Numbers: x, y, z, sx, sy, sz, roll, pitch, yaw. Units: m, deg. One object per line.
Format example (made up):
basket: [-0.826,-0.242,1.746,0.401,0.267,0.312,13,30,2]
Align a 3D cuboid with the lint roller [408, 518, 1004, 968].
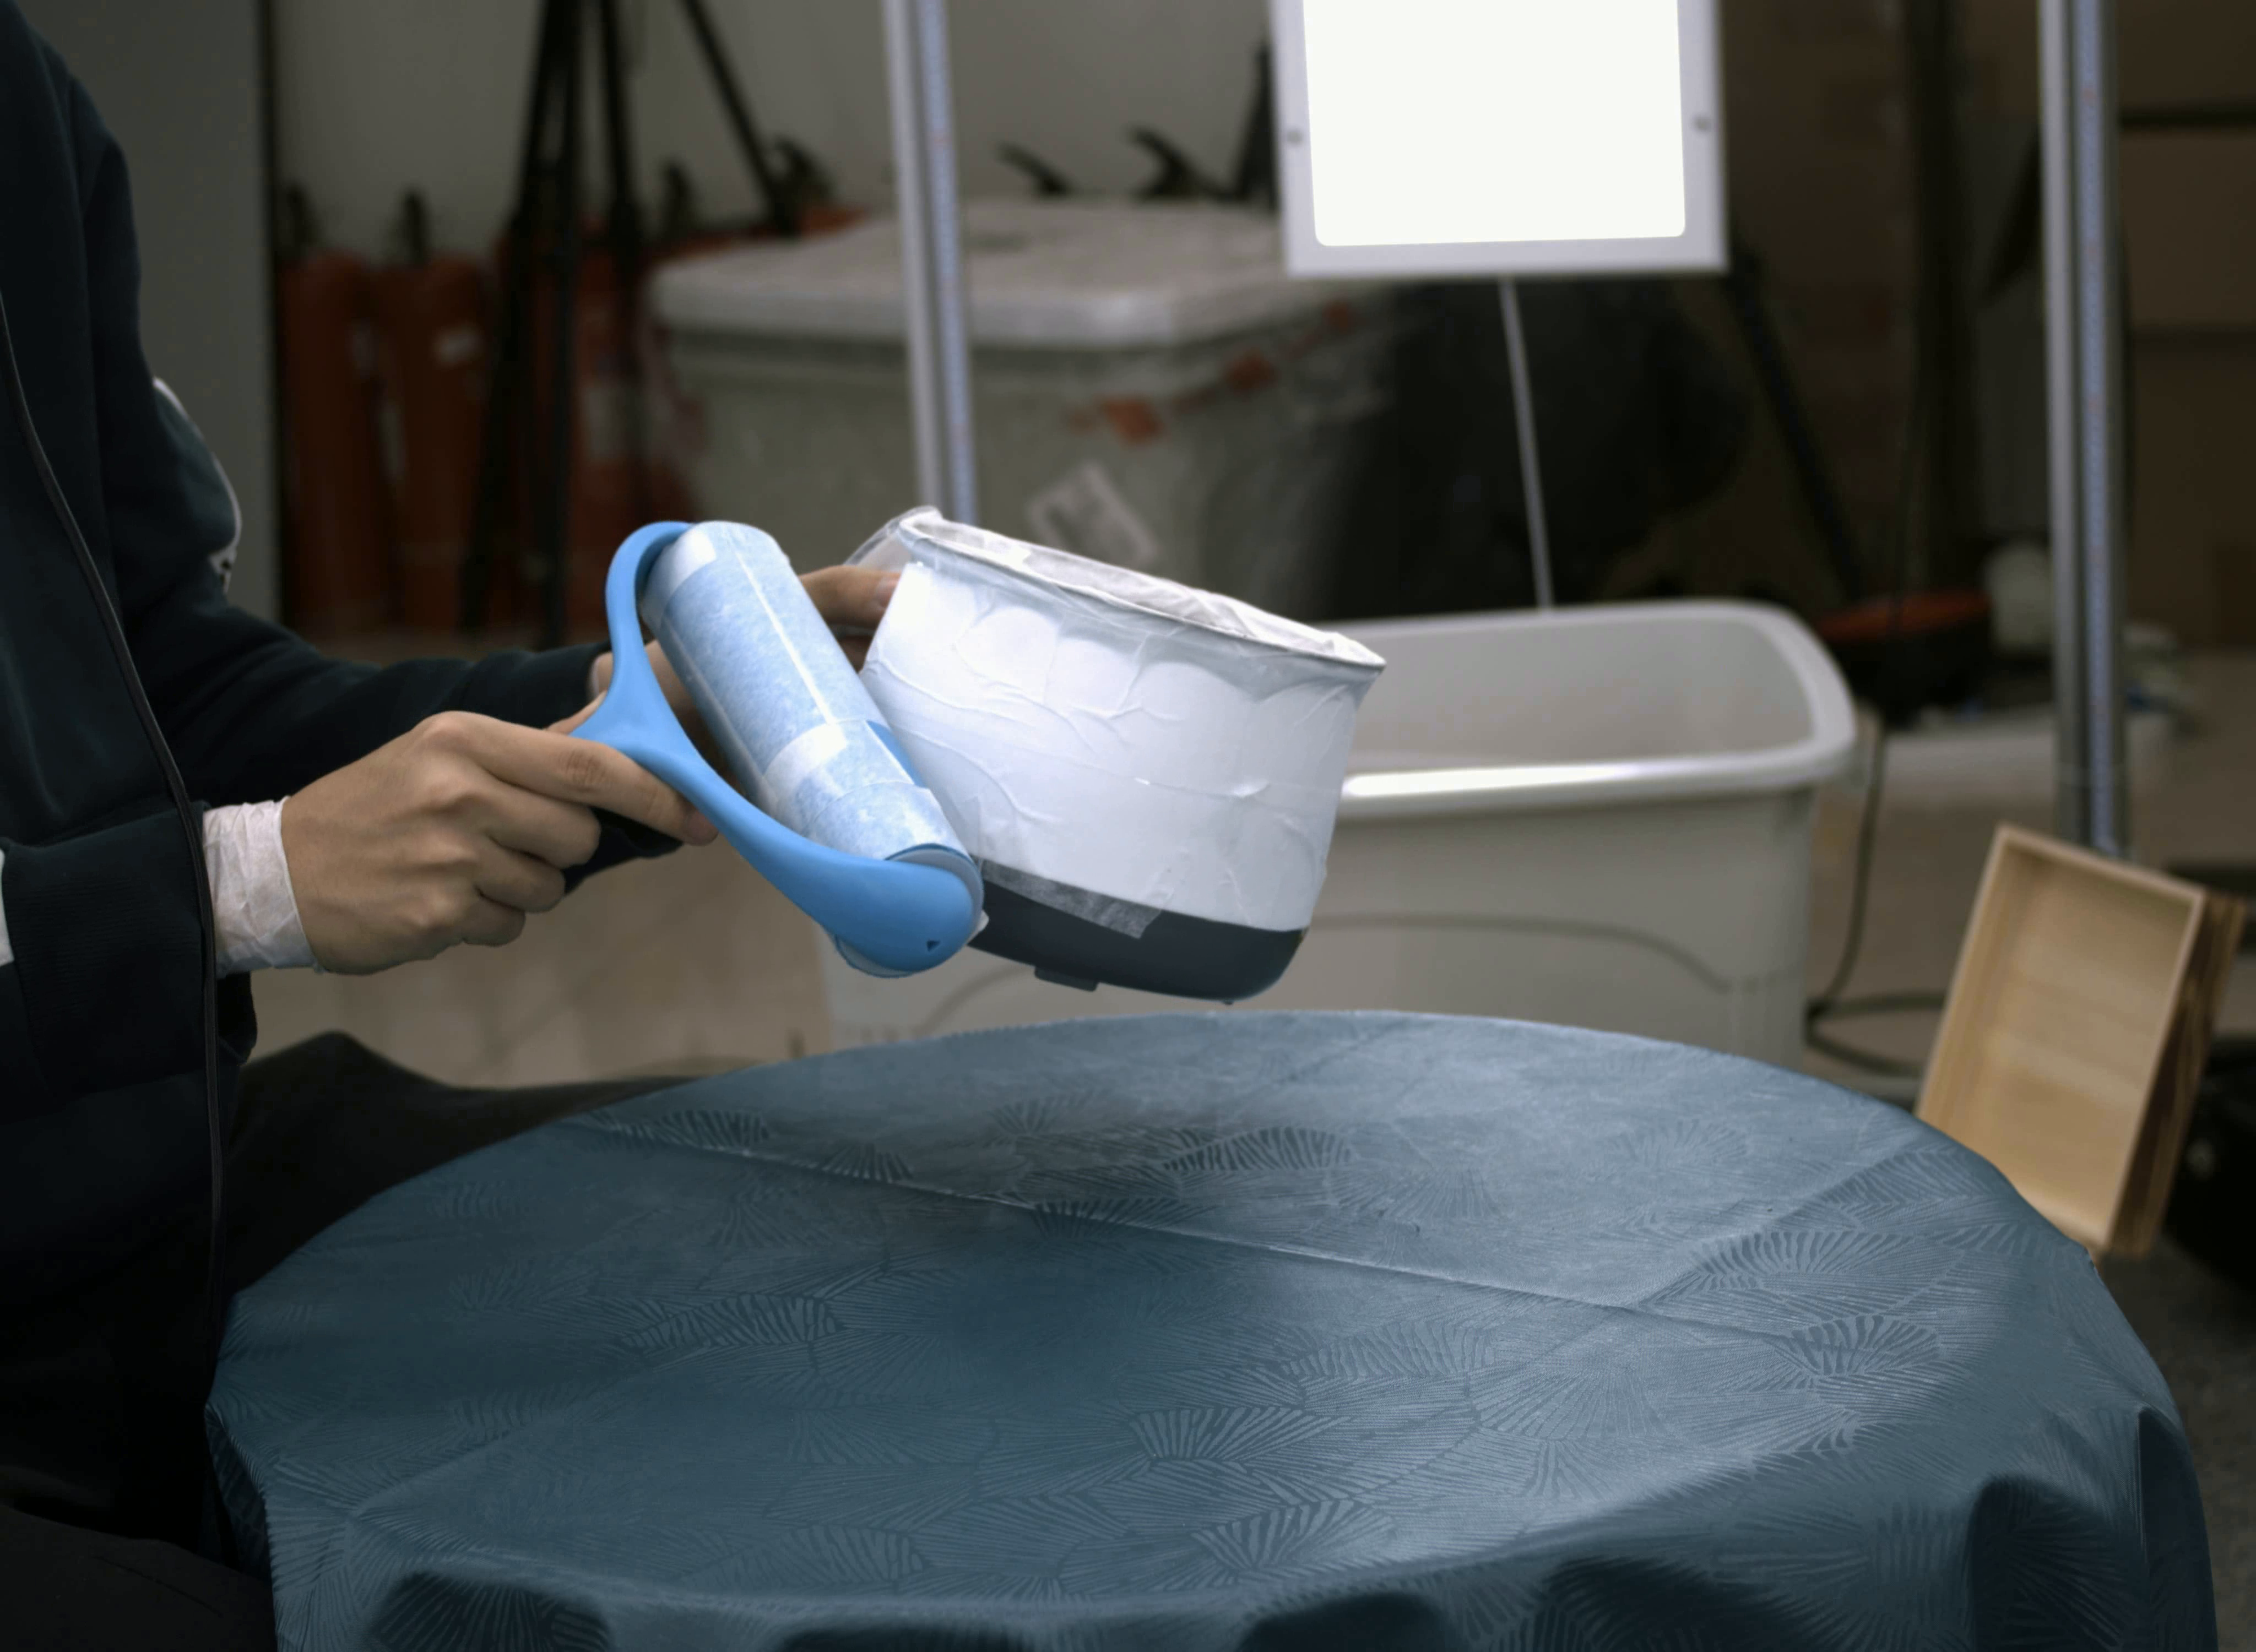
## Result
lint roller: [-0.157,-0.011,1.838,0.177,0.068,0.231,-21,45,-16]

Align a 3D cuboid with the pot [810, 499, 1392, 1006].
pot: [-0.033,-0.030,1.926,0.238,0.137,0.174,21,8,35]
